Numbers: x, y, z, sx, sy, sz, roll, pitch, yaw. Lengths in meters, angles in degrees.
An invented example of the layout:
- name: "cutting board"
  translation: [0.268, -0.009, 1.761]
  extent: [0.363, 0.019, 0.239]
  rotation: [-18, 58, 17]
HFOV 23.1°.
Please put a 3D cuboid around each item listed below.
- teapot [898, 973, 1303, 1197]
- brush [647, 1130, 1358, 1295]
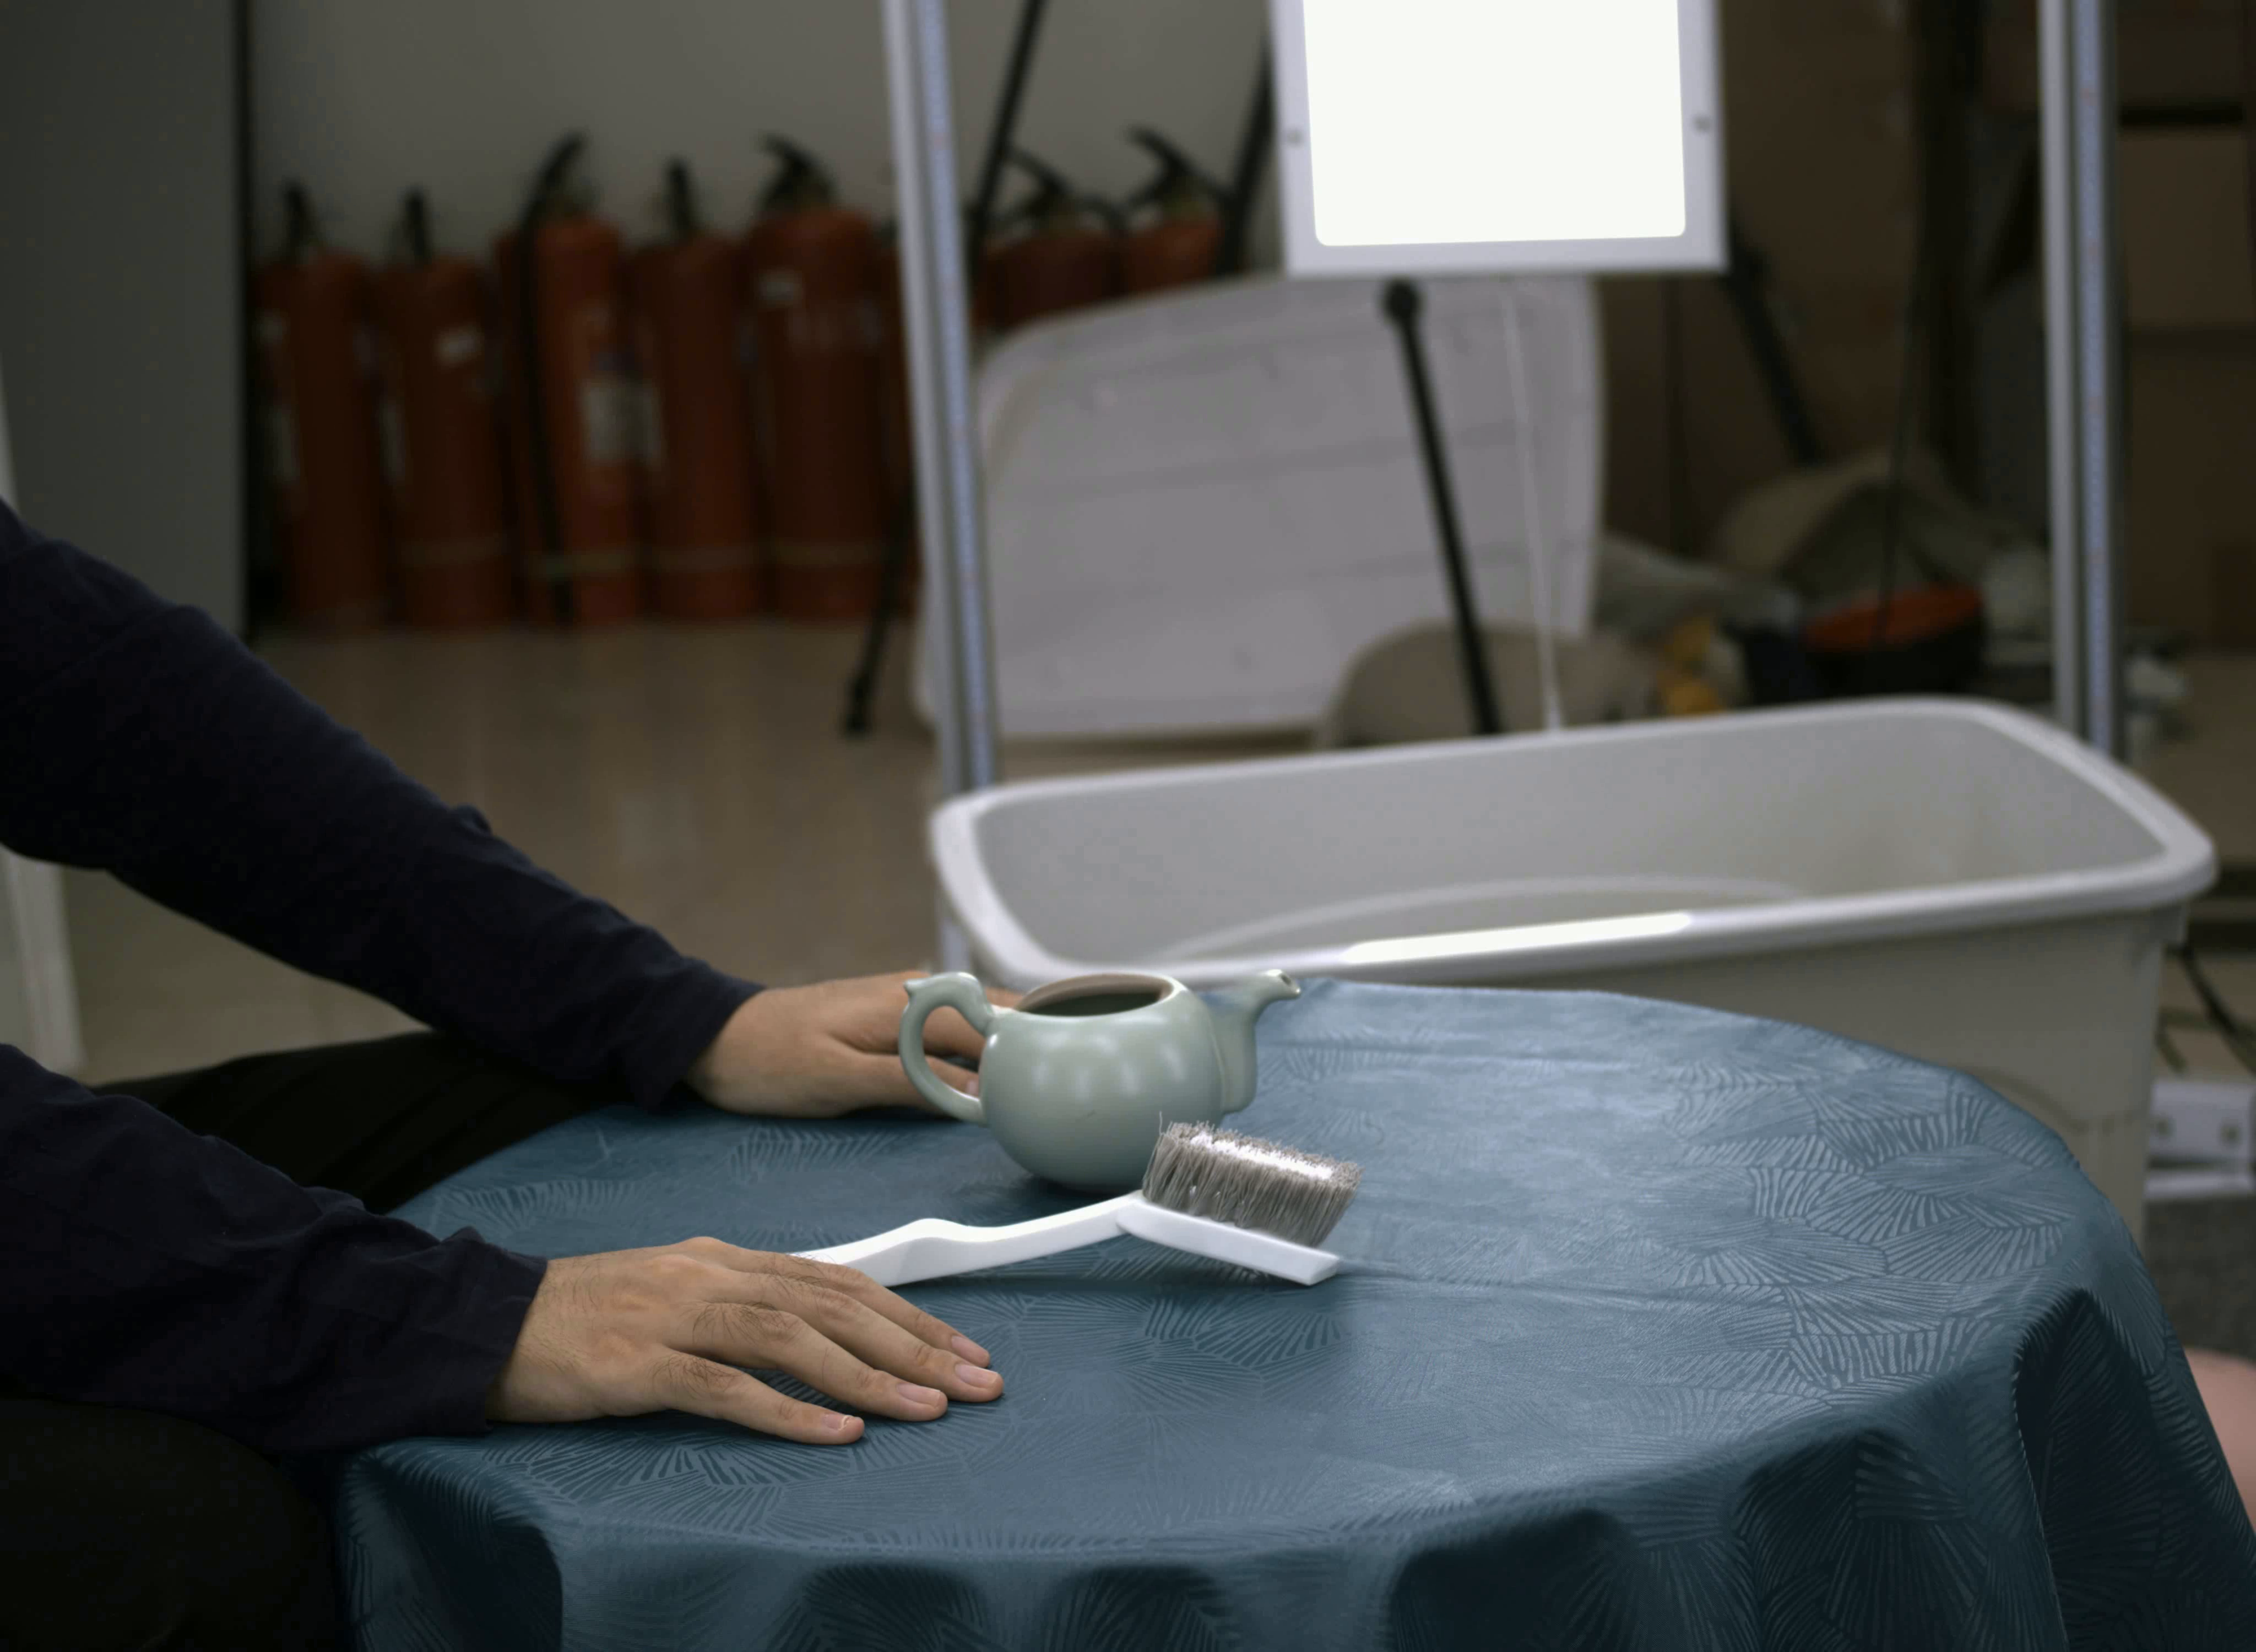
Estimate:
- name: "teapot"
  translation: [-0.008, 0.088, 1.912]
  extent: [0.145, 0.075, 0.087]
  rotation: [0, 15, 14]
- name: "brush"
  translation: [-0.044, 0.126, 1.815]
  extent: [0.246, 0.050, 0.034]
  rotation: [-1, 19, 16]
